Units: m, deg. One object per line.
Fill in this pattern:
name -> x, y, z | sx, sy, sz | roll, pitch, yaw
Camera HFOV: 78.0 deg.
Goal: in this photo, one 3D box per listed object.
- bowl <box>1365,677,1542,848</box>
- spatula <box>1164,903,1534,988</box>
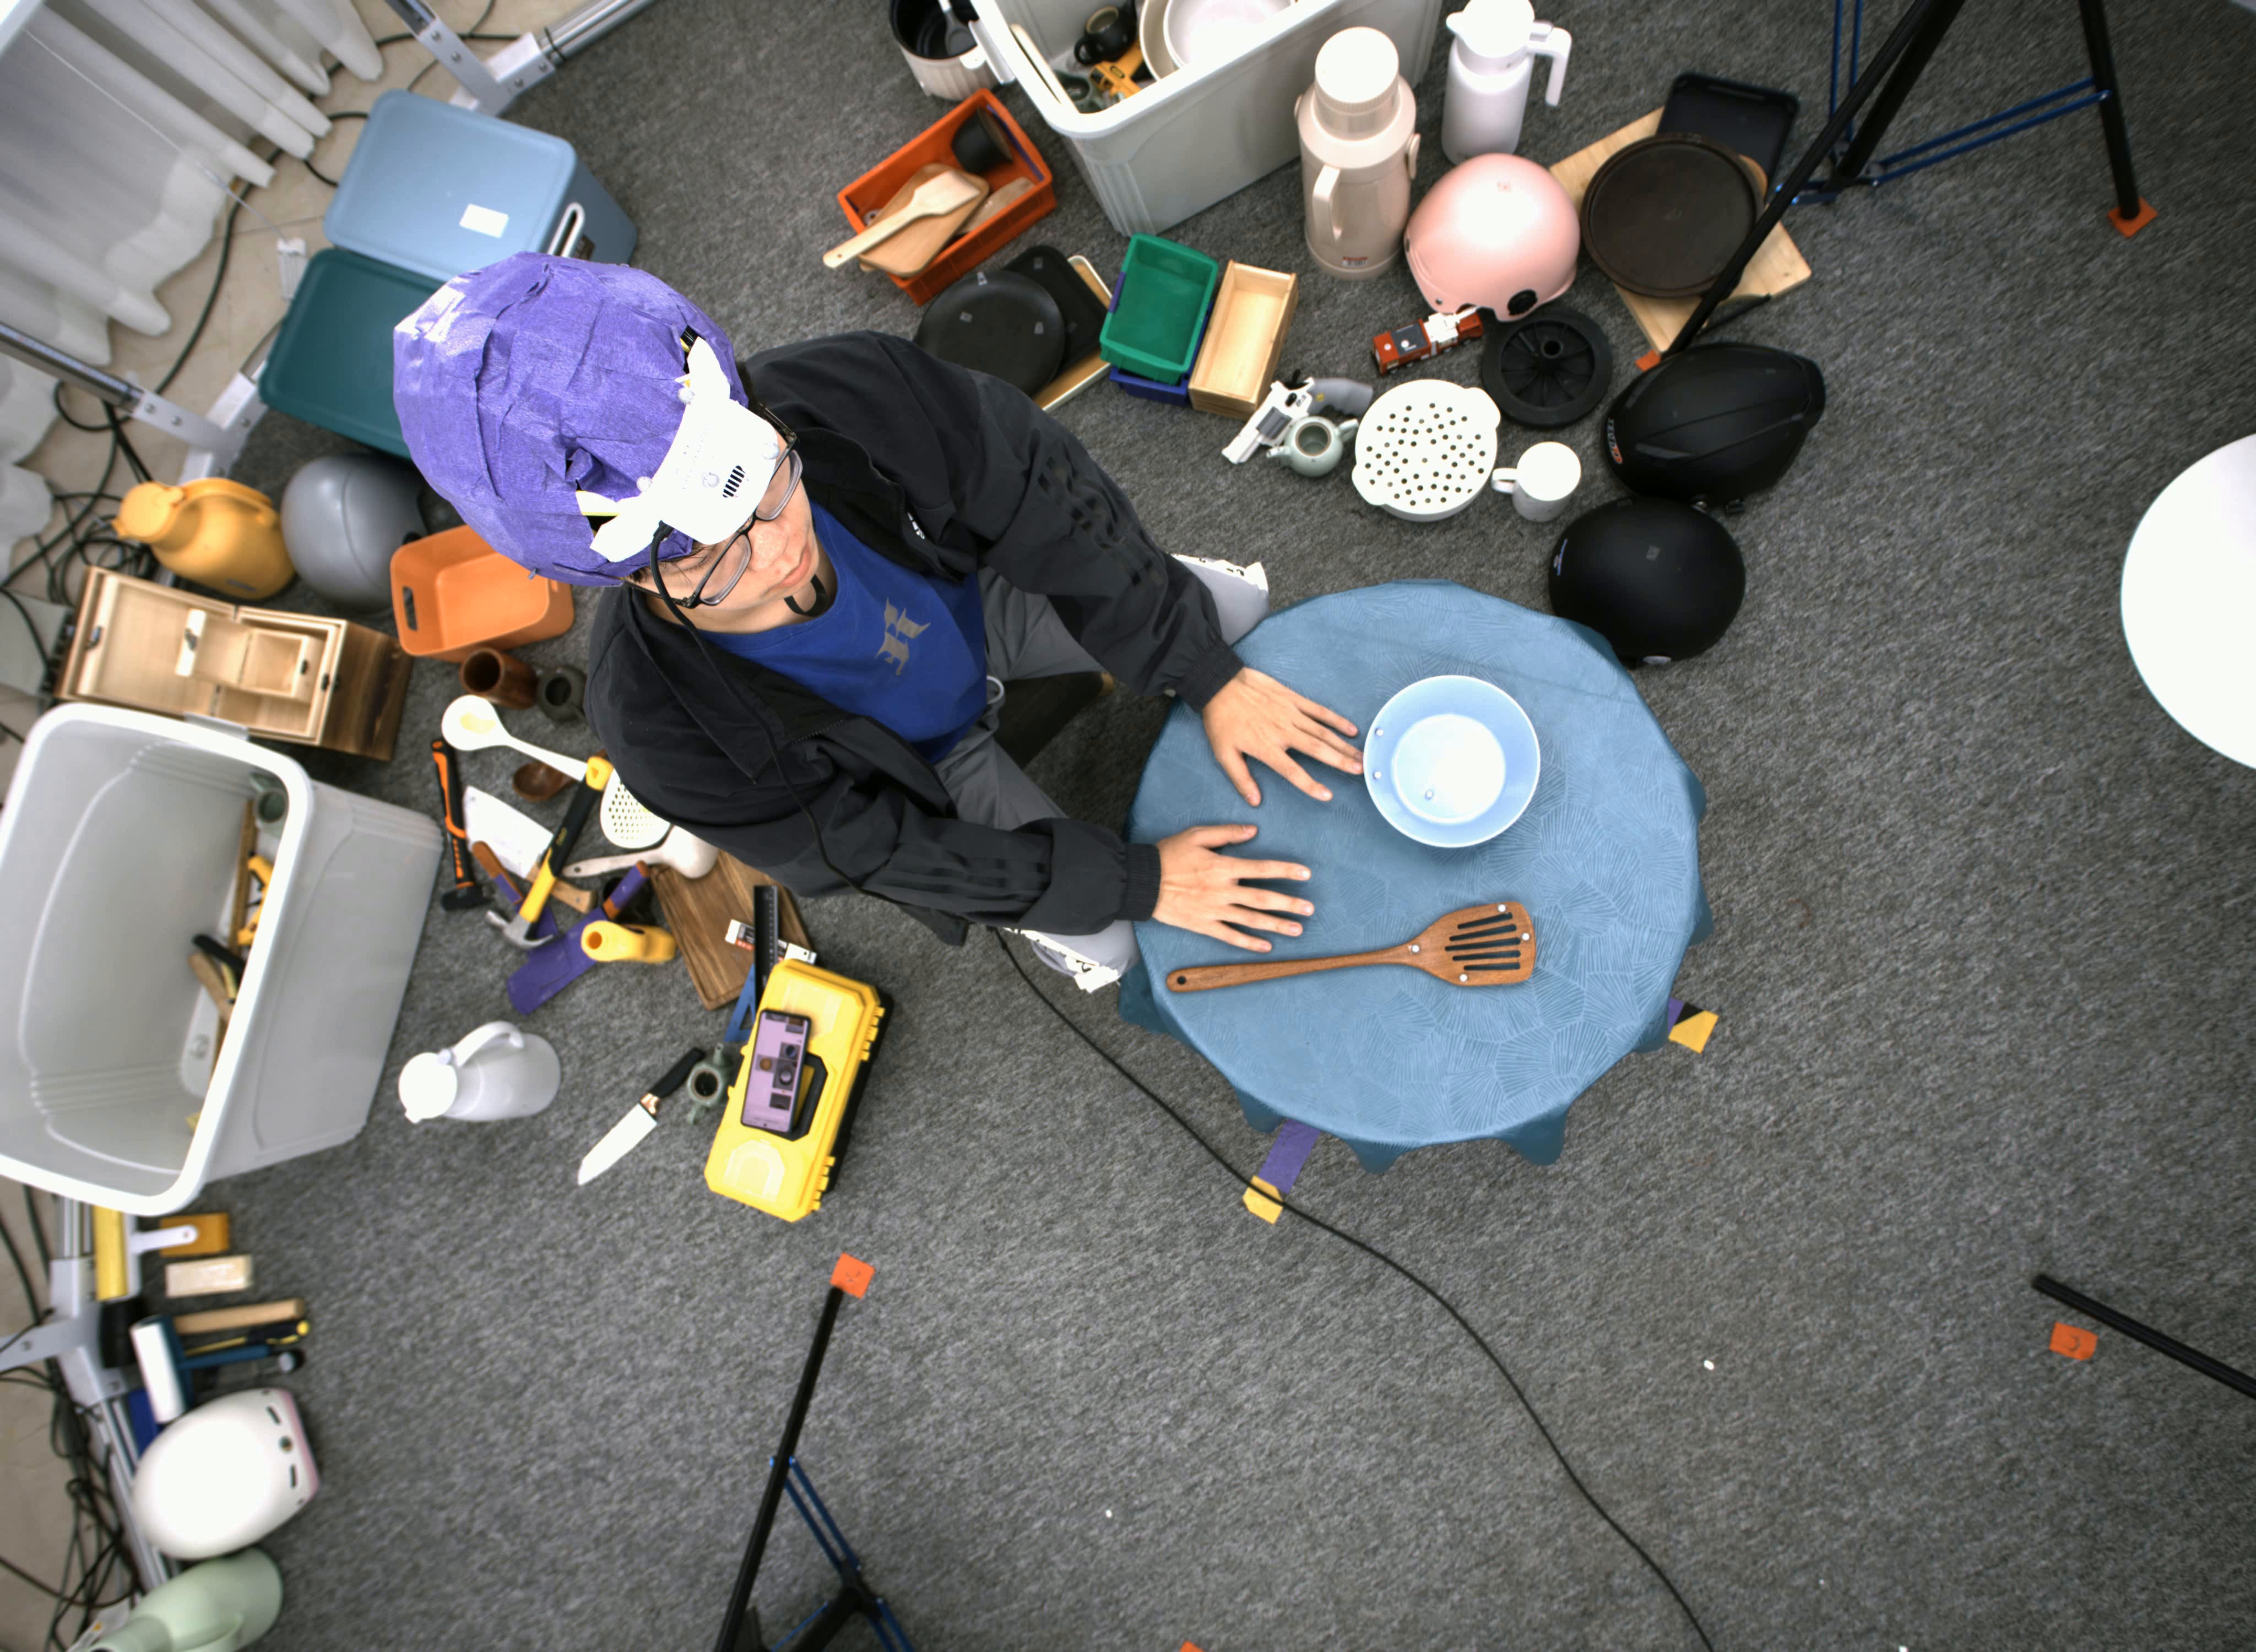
bowl -> 0.333, -0.063, 1.417 | 0.177, 0.070, 0.175 | -1, 86, 12
spatula -> 0.228, 0.140, 1.452 | 0.389, 0.024, 0.085 | -7, 85, 12
